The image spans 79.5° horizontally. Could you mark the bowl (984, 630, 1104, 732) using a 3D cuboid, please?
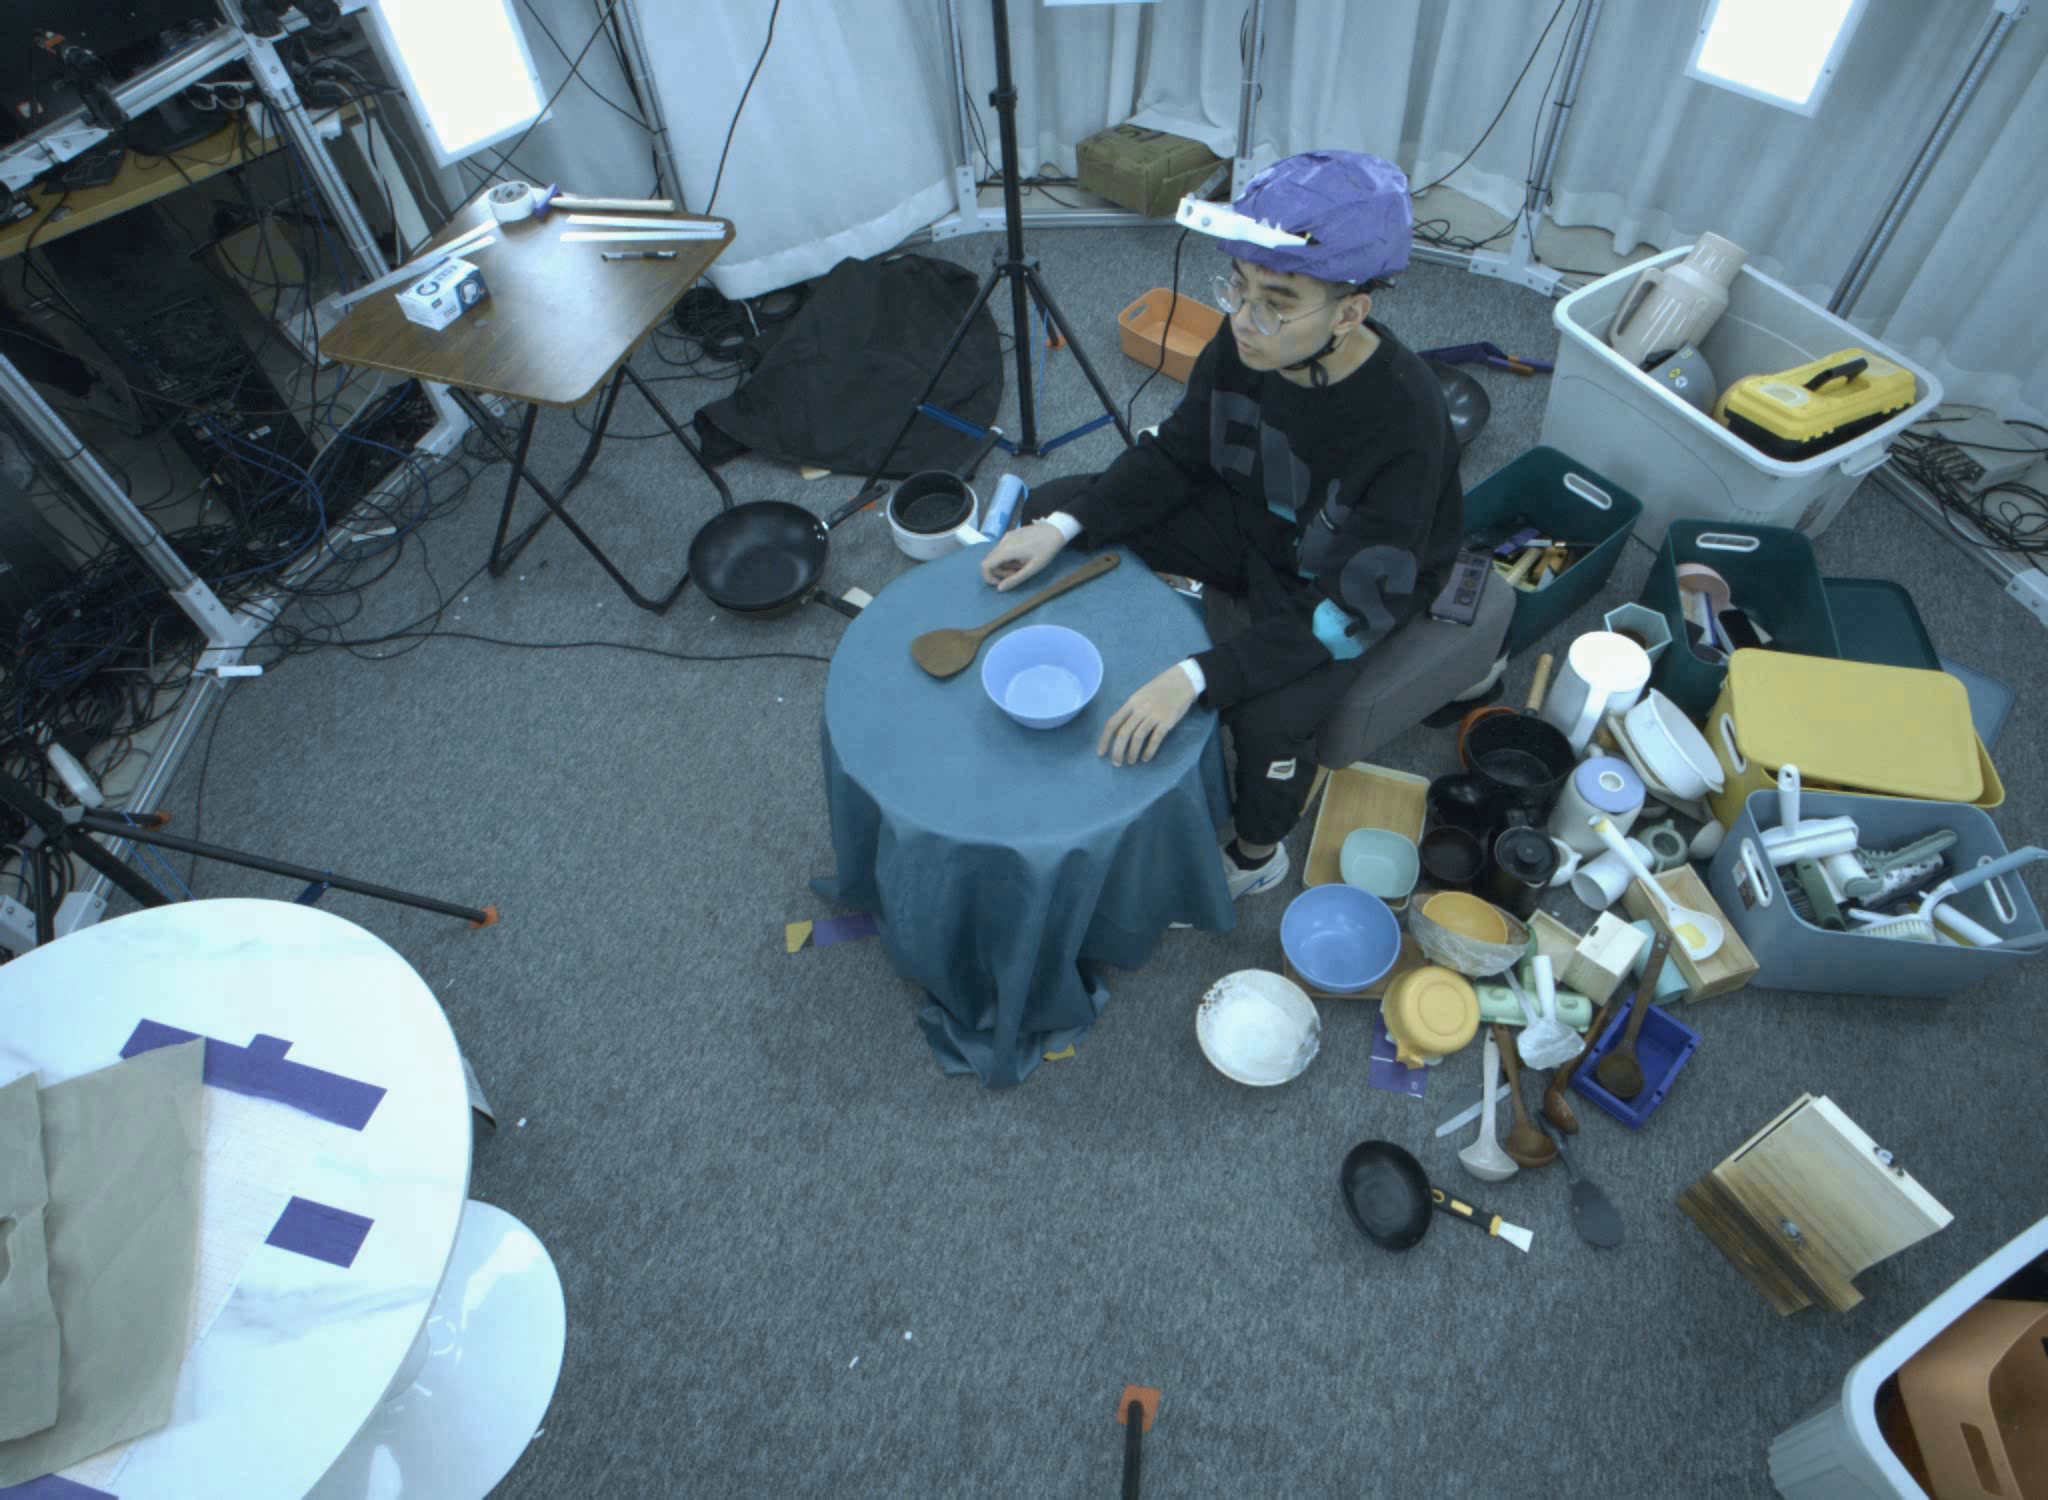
[{"bbox_3d":[0.030,-0.092,1.819,0.176,0.071,0.174,0,54,1],"label":"bowl"}]

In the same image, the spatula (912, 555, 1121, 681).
[{"bbox_3d":[-0.001,-0.221,1.945,0.389,0.016,0.094,-31,60,-19],"label":"spatula"}]
